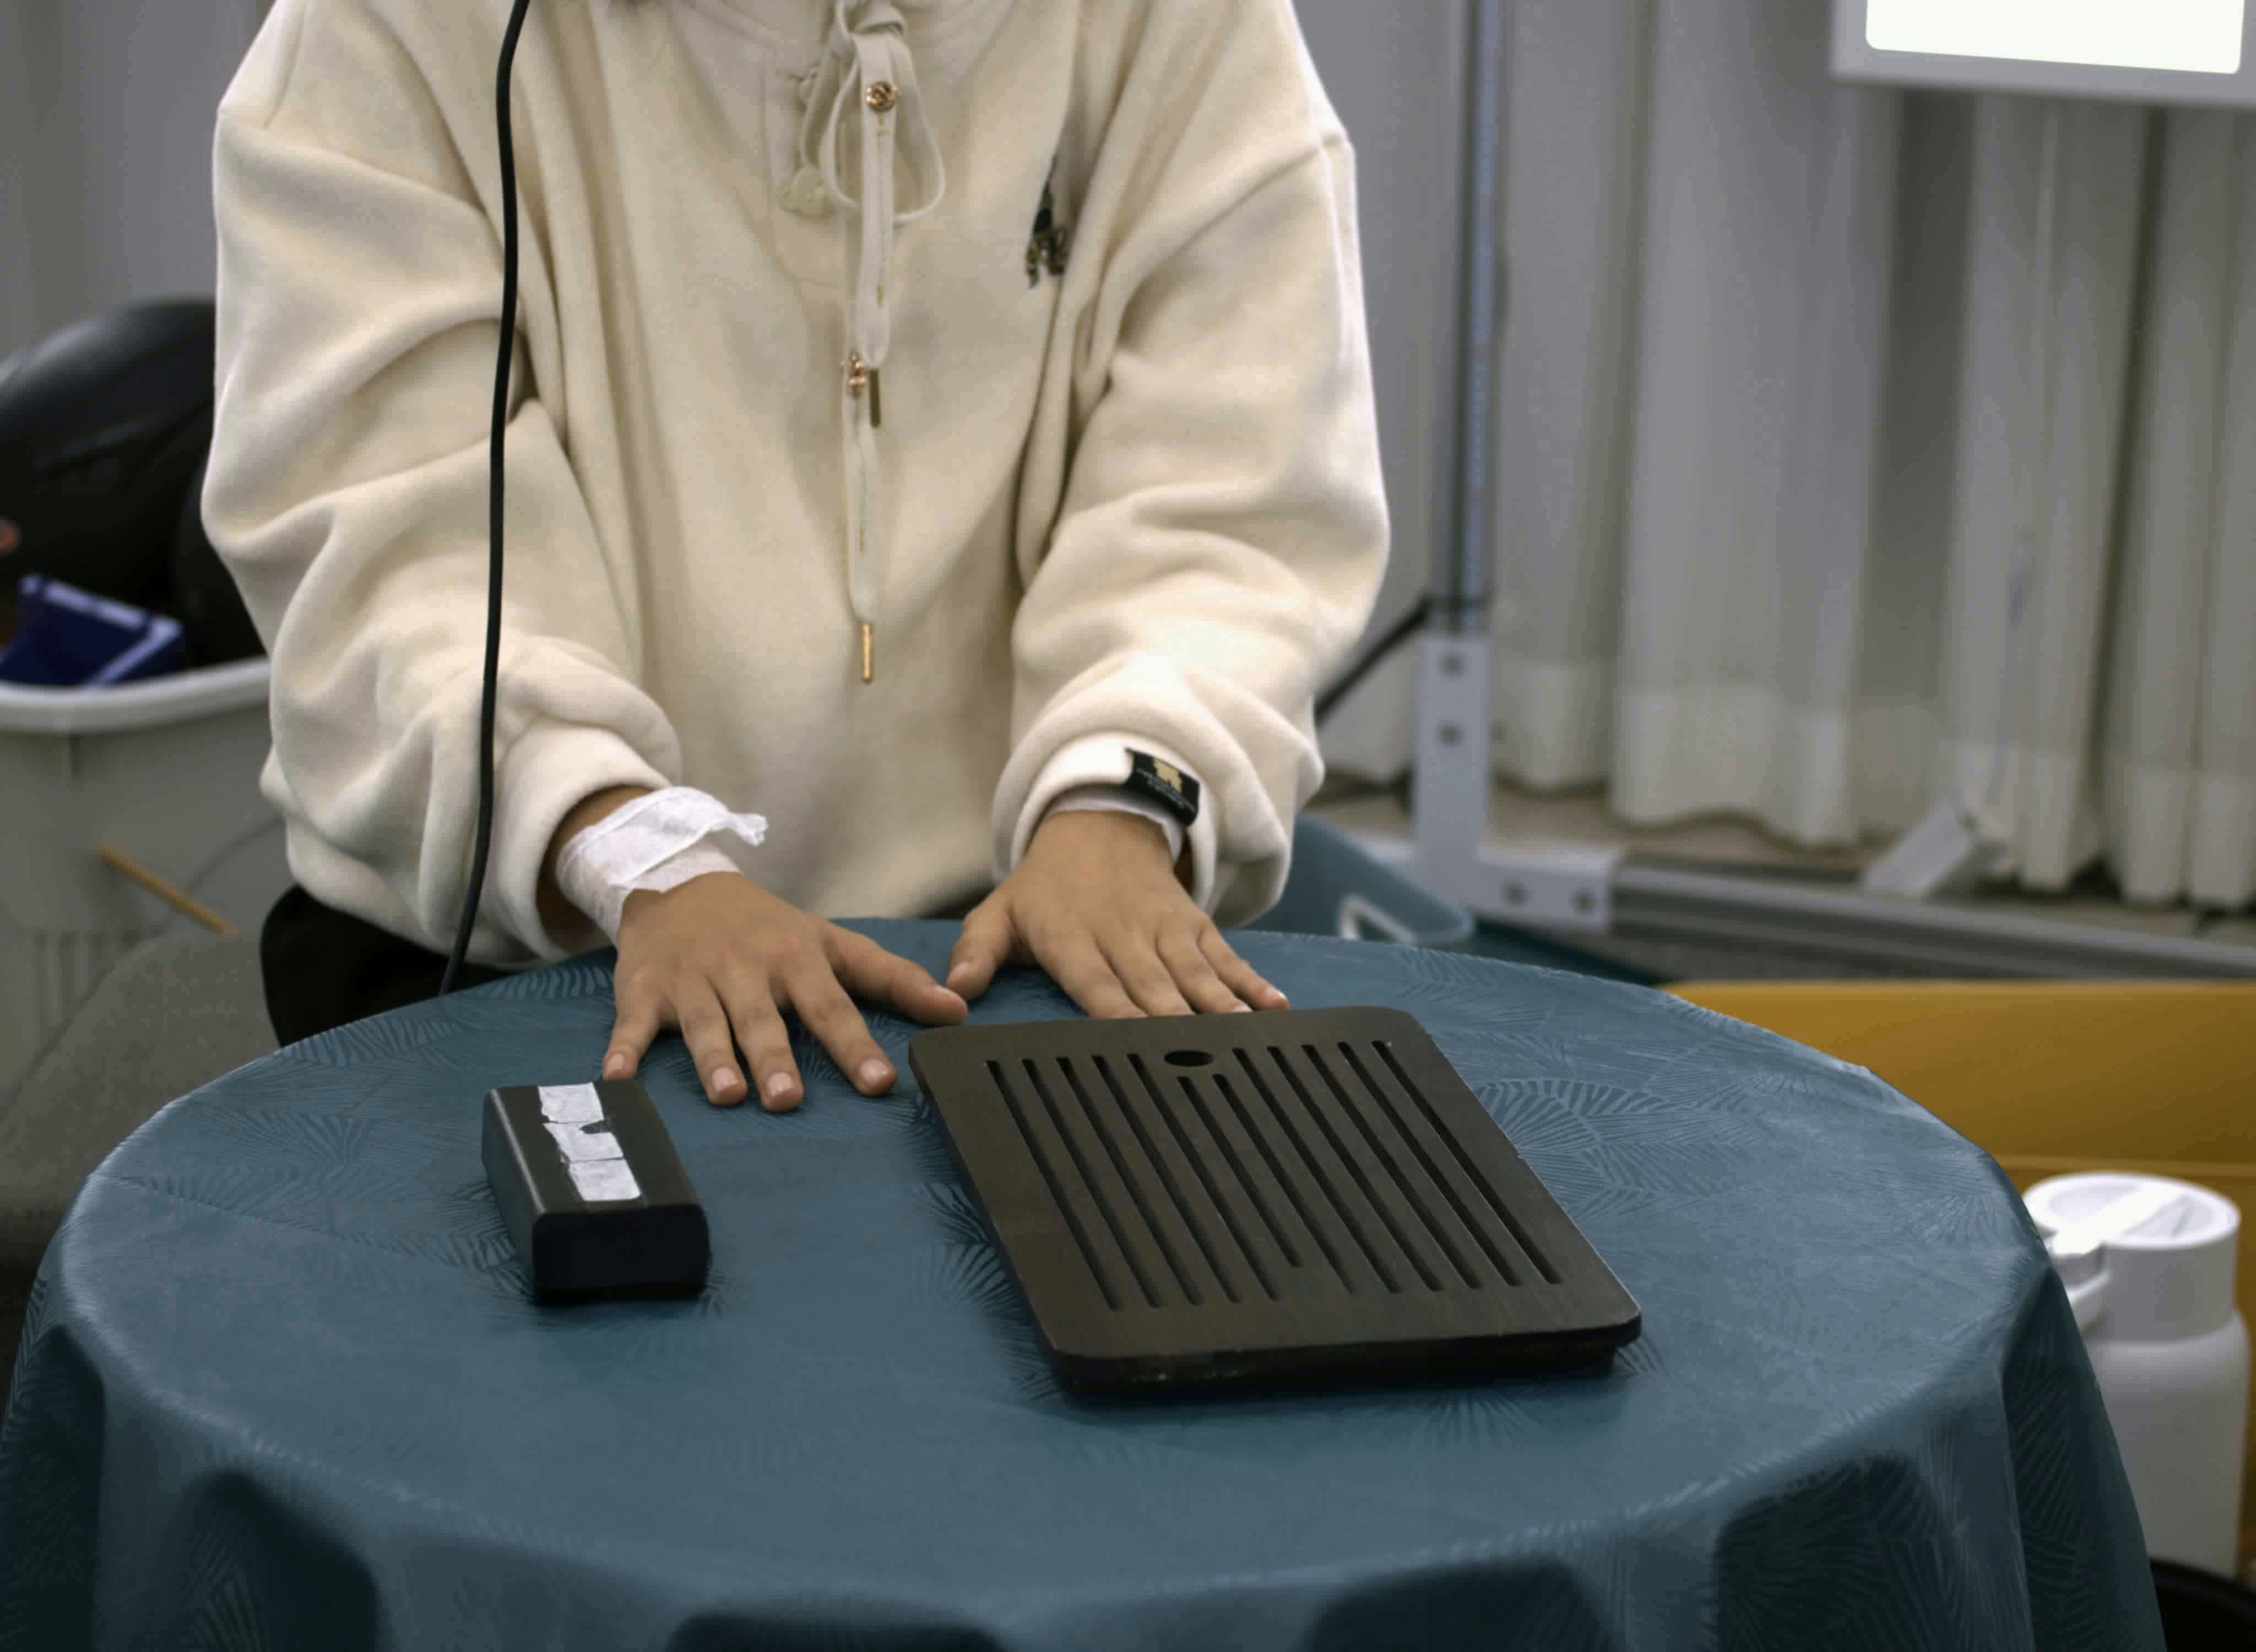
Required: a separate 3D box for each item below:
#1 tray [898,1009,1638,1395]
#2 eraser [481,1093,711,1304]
[{"bbox_3d":[0.034,0.110,1.595,0.170,0.019,0.303,-2,16,-11],"label":"tray"},{"bbox_3d":[-0.160,0.110,1.573,0.053,0.030,0.124,-1,14,-14],"label":"eraser"}]
